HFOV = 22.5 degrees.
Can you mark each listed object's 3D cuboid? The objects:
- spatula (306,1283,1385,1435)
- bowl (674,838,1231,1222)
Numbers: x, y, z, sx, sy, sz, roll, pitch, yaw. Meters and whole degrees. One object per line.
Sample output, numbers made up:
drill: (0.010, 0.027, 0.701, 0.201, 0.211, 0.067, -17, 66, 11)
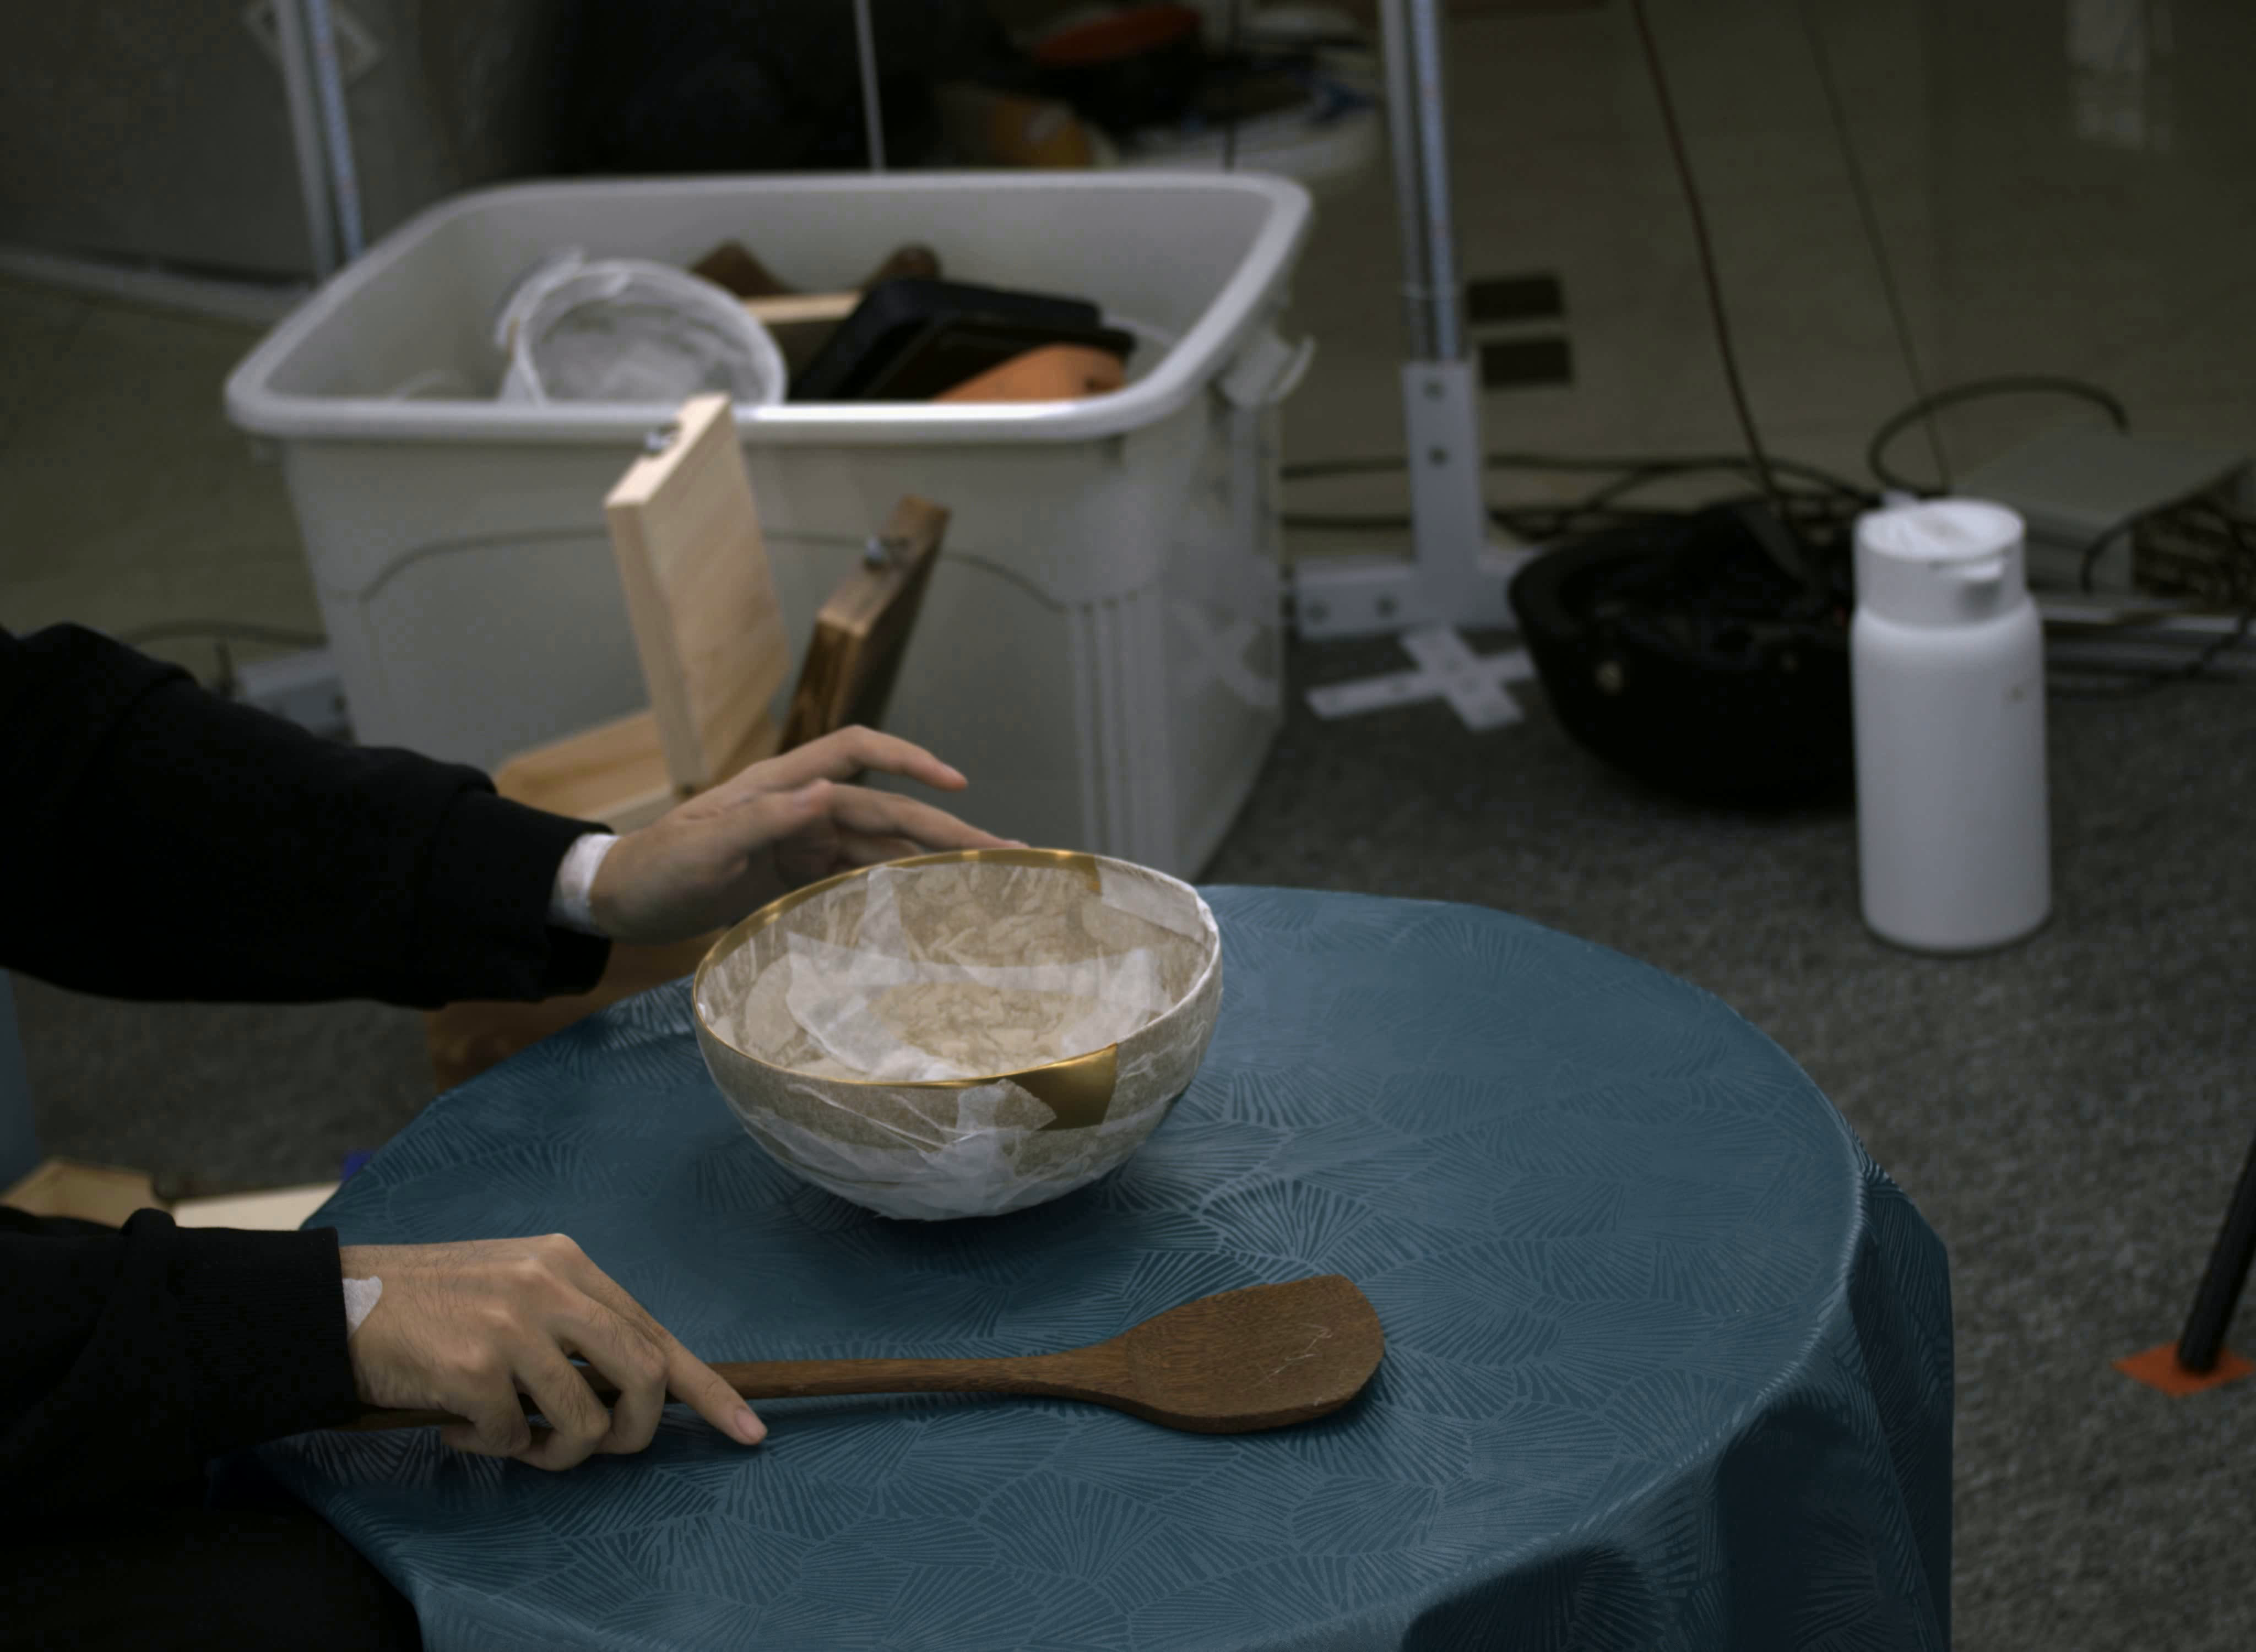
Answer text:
spatula: (-0.101, 0.197, 2.021, 0.385, 0.016, 0.095, -2, 24, 0)
bowl: (-0.062, 0.091, 2.161, 0.214, 0.096, 0.211, -6, 26, 3)
